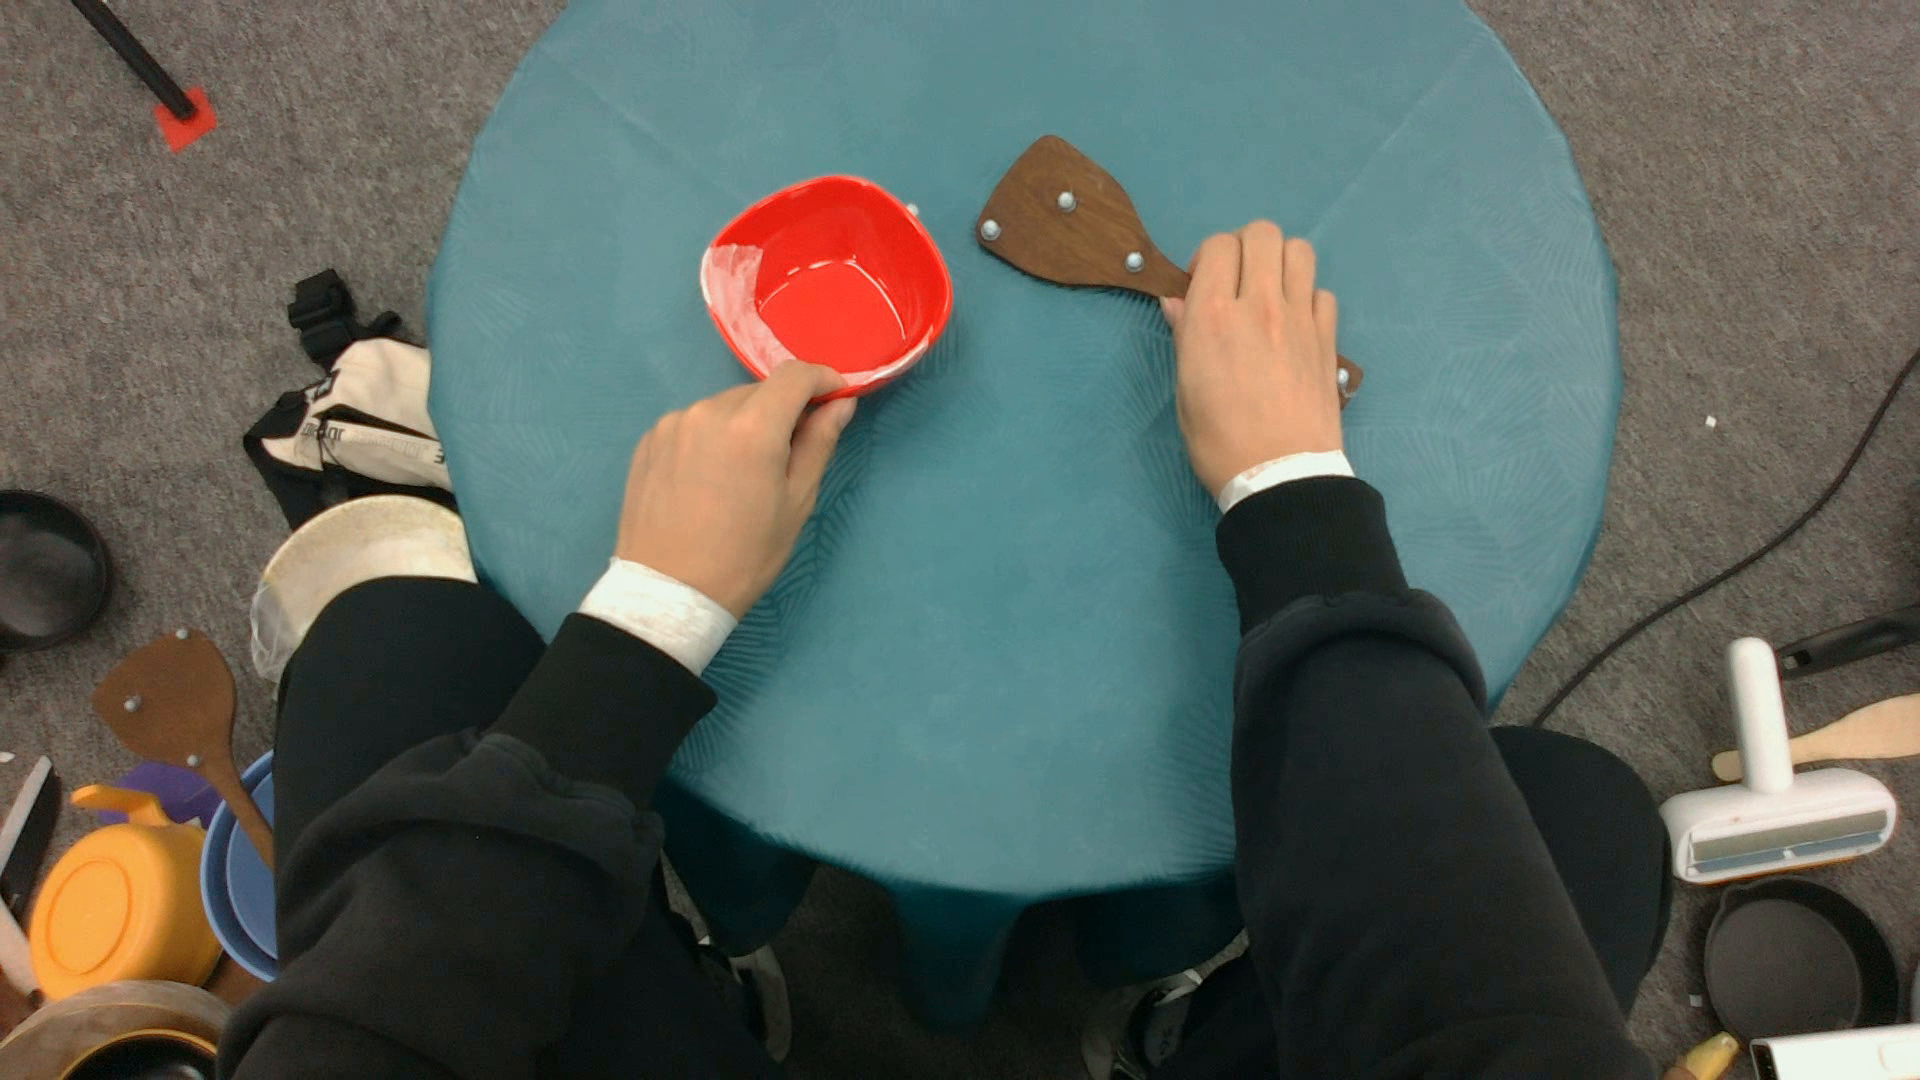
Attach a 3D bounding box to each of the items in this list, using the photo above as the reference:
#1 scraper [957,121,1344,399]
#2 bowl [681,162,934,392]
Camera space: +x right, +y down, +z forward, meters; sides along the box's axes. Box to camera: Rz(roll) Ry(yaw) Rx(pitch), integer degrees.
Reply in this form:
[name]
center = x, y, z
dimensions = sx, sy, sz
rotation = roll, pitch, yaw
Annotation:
[scraper]
center = 0.098, -0.135, 0.696
dimensions = 0.211, 0.011, 0.076
rotation = 34, 78, 11
[bowl]
center = -0.072, -0.119, 0.666
dimensions = 0.119, 0.051, 0.119
rotation = 1, 69, -3
